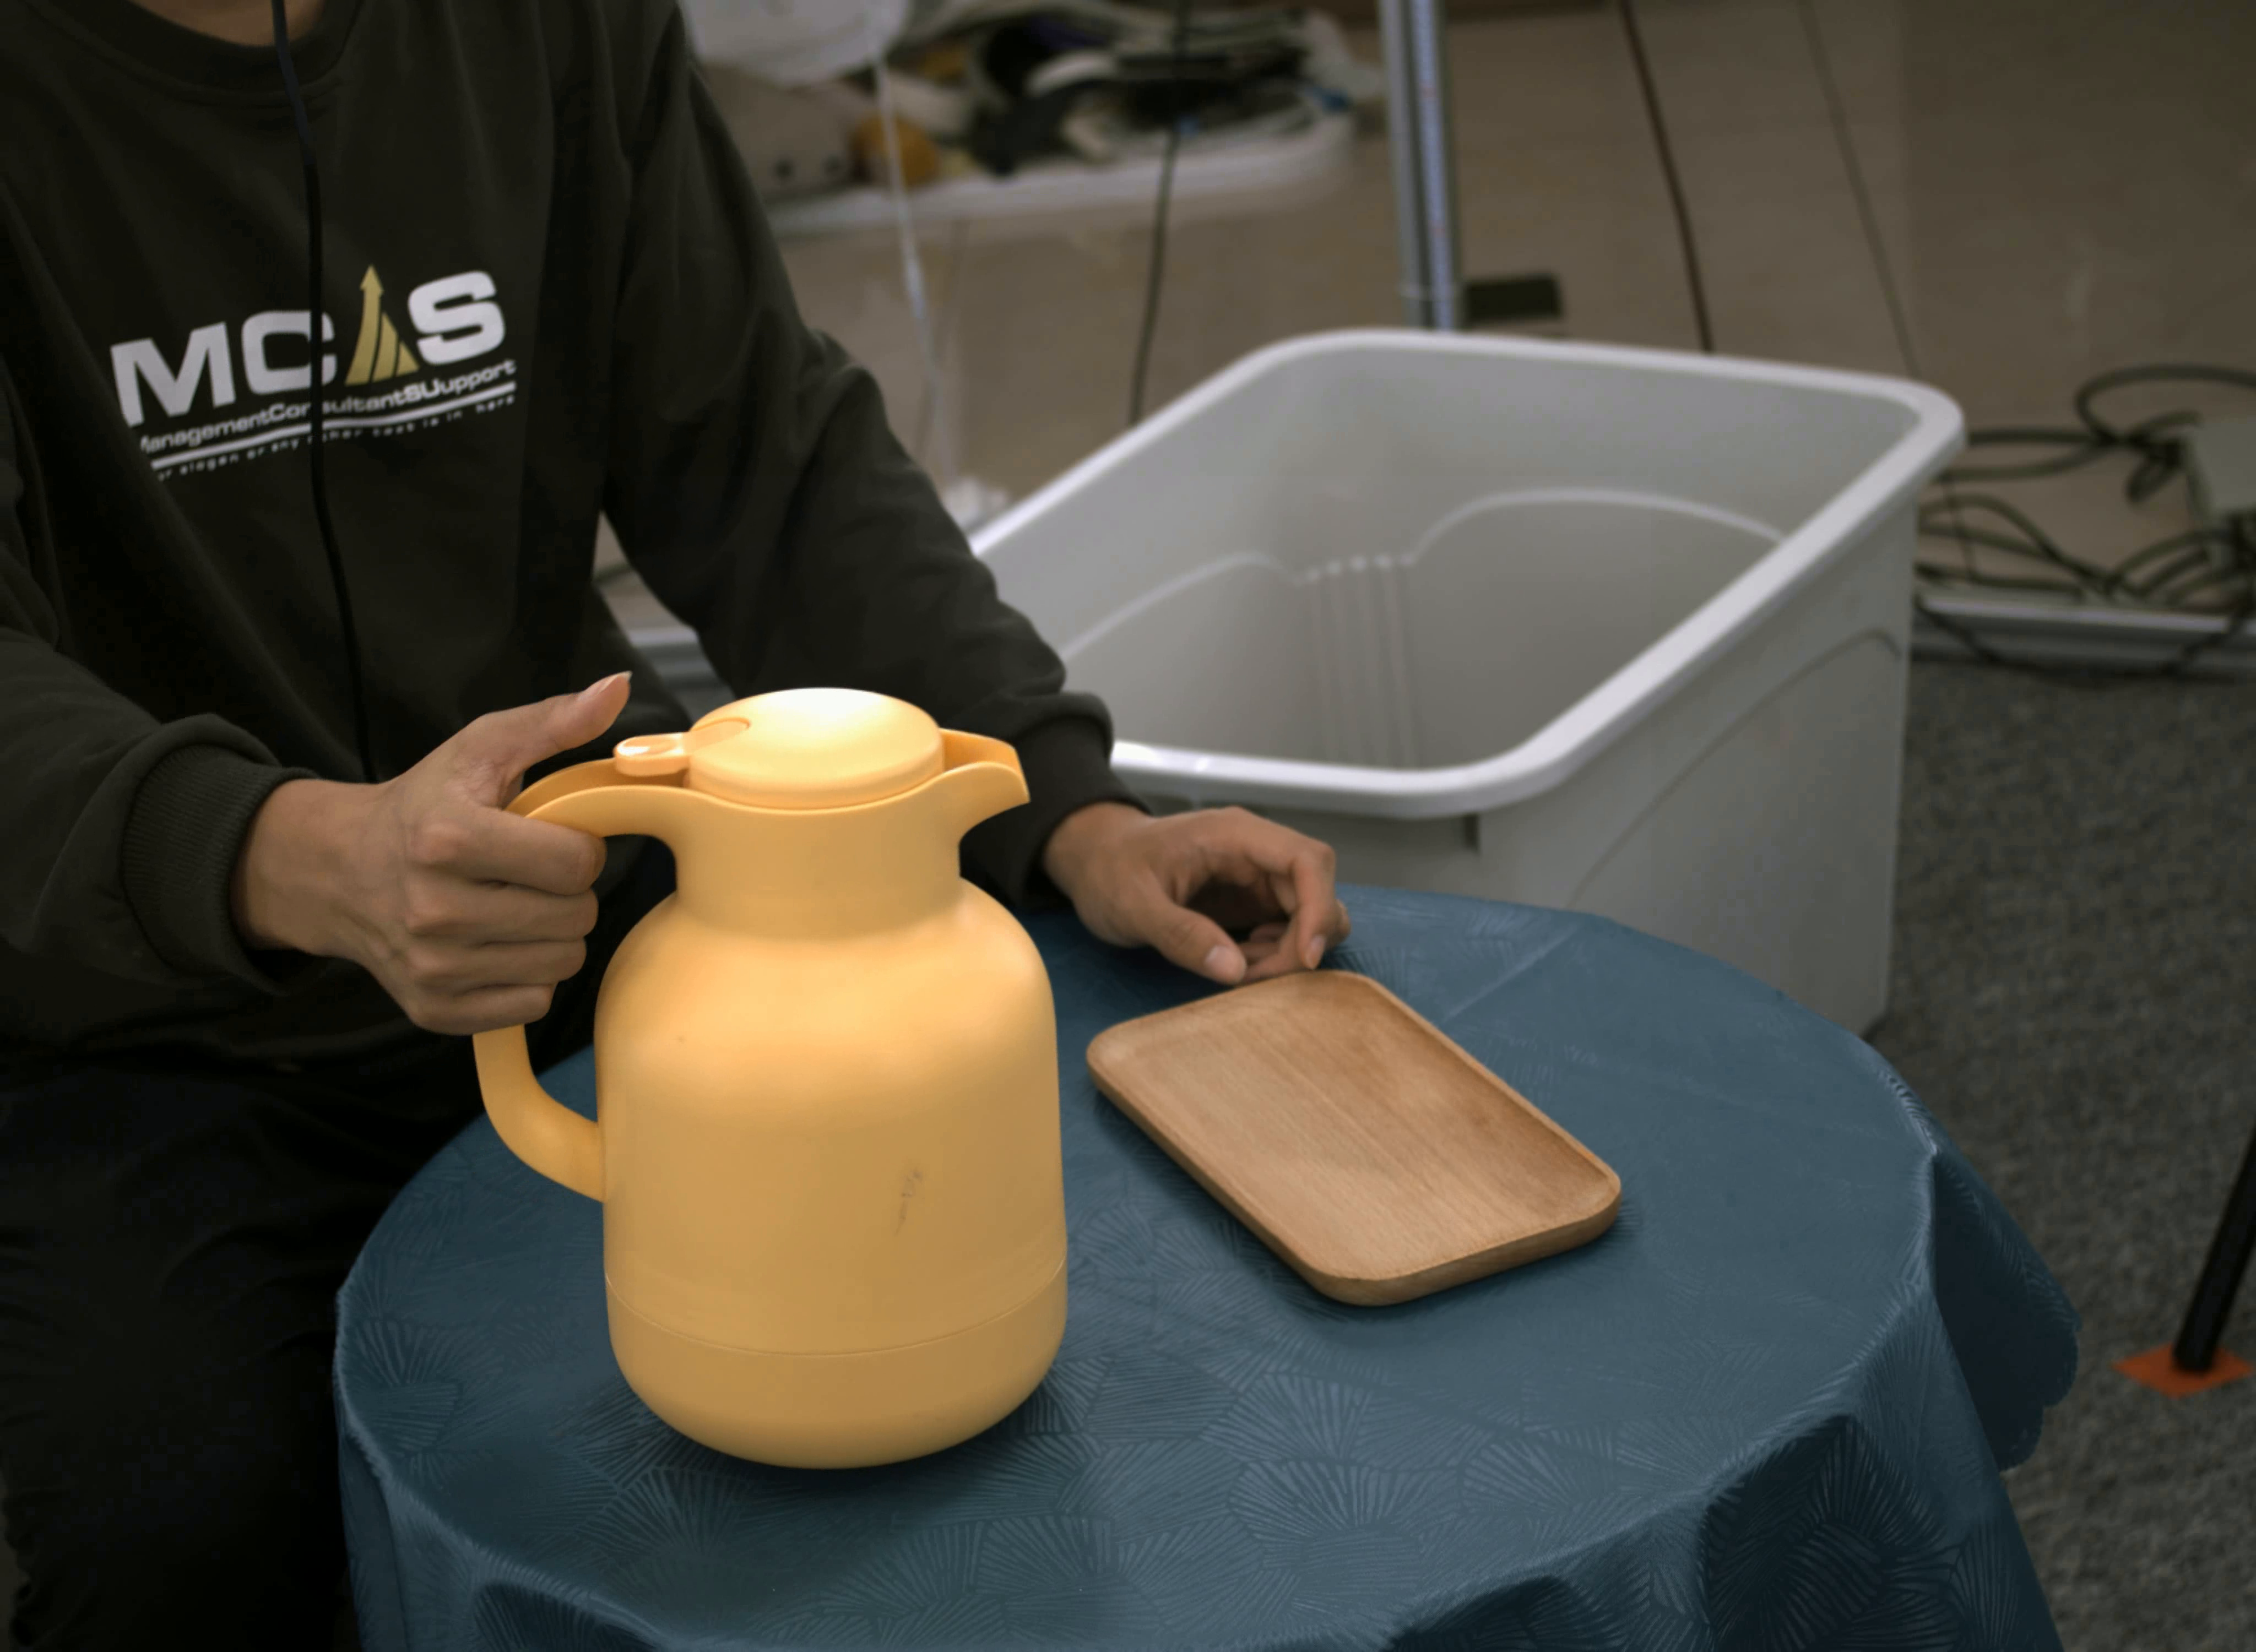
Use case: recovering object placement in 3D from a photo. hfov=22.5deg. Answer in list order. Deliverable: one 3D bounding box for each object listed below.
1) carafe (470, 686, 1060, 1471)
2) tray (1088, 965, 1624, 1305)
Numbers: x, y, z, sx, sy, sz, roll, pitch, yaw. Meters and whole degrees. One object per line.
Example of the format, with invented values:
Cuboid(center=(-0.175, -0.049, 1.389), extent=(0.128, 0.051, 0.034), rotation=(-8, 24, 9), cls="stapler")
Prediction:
Cuboid(center=(-0.125, 0.083, 1.968), extent=(0.202, 0.264, 0.161), rotation=(-2, 21, -3), cls="carafe")
Cuboid(center=(0.083, 0.115, 2.158), extent=(0.130, 0.023, 0.248), rotation=(-13, 24, -20), cls="tray")
